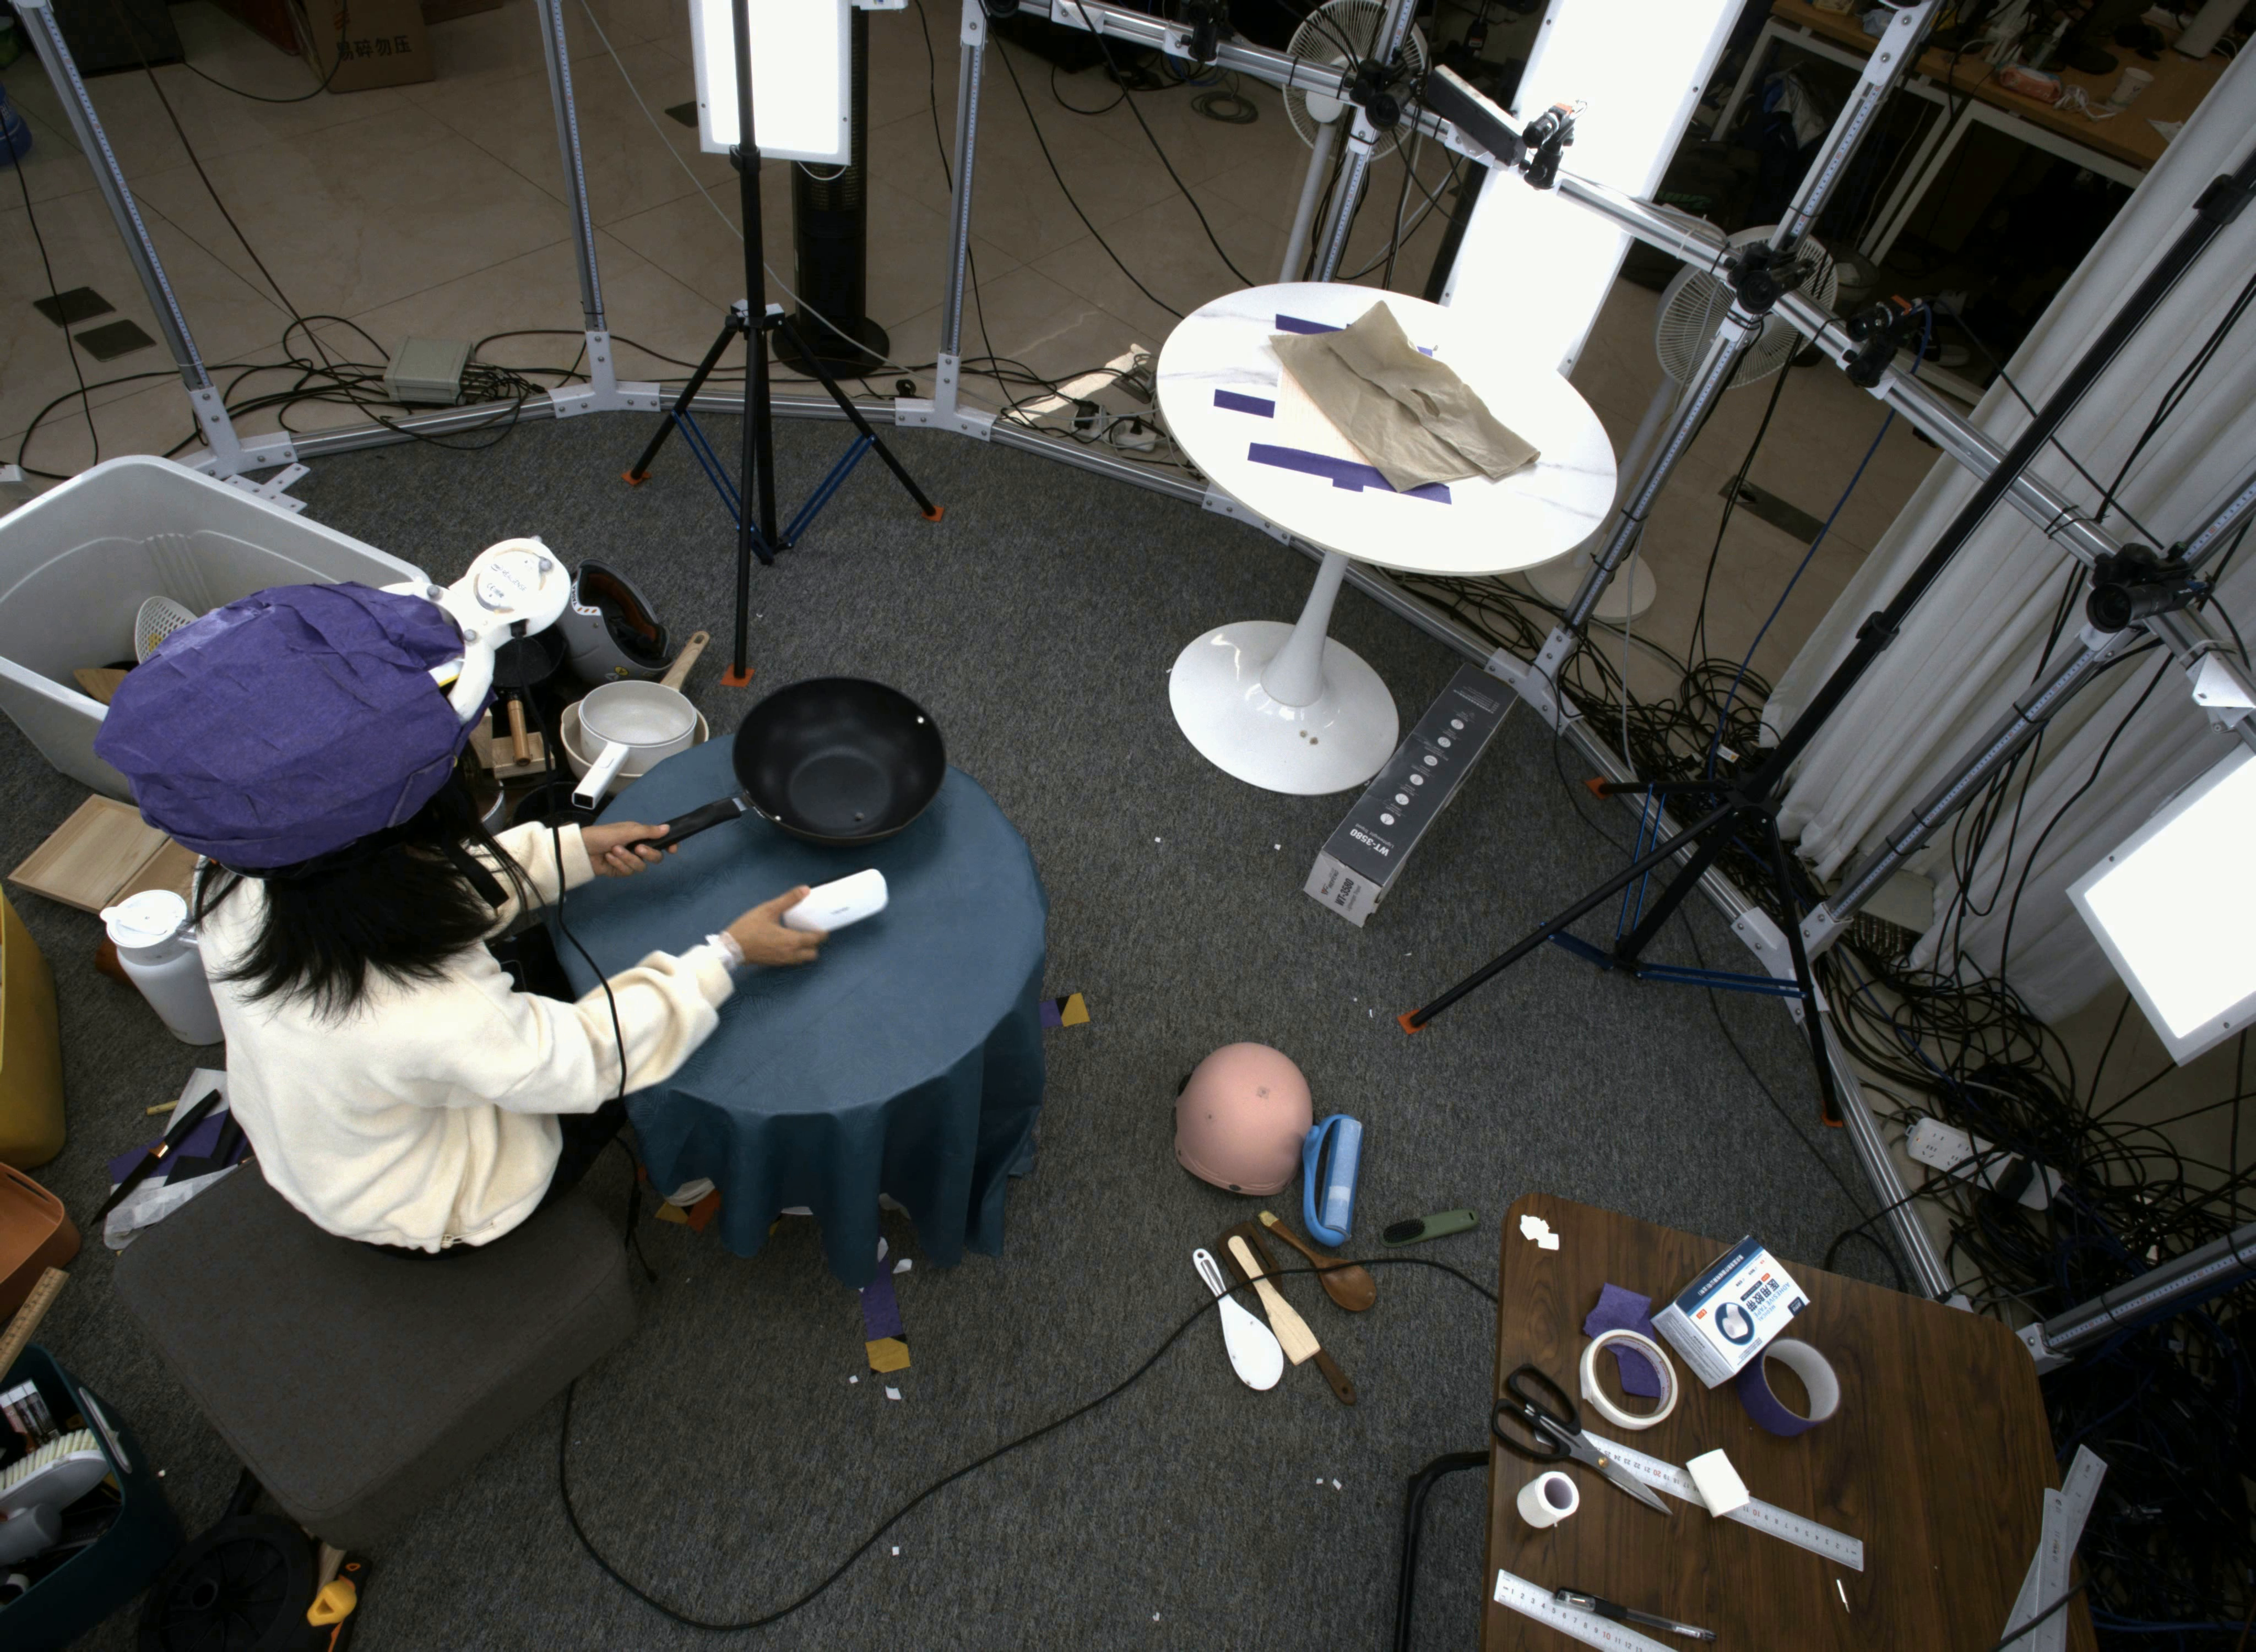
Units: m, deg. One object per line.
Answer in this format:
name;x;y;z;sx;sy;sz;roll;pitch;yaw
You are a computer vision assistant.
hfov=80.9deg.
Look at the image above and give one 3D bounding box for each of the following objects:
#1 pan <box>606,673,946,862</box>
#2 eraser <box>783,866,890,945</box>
pan;-0.454;-0.036;1.685;0.465;0.088;0.281;-29;65;-30
eraser;-0.358;0.095;1.597;0.132;0.065;0.033;-22;41;-24
